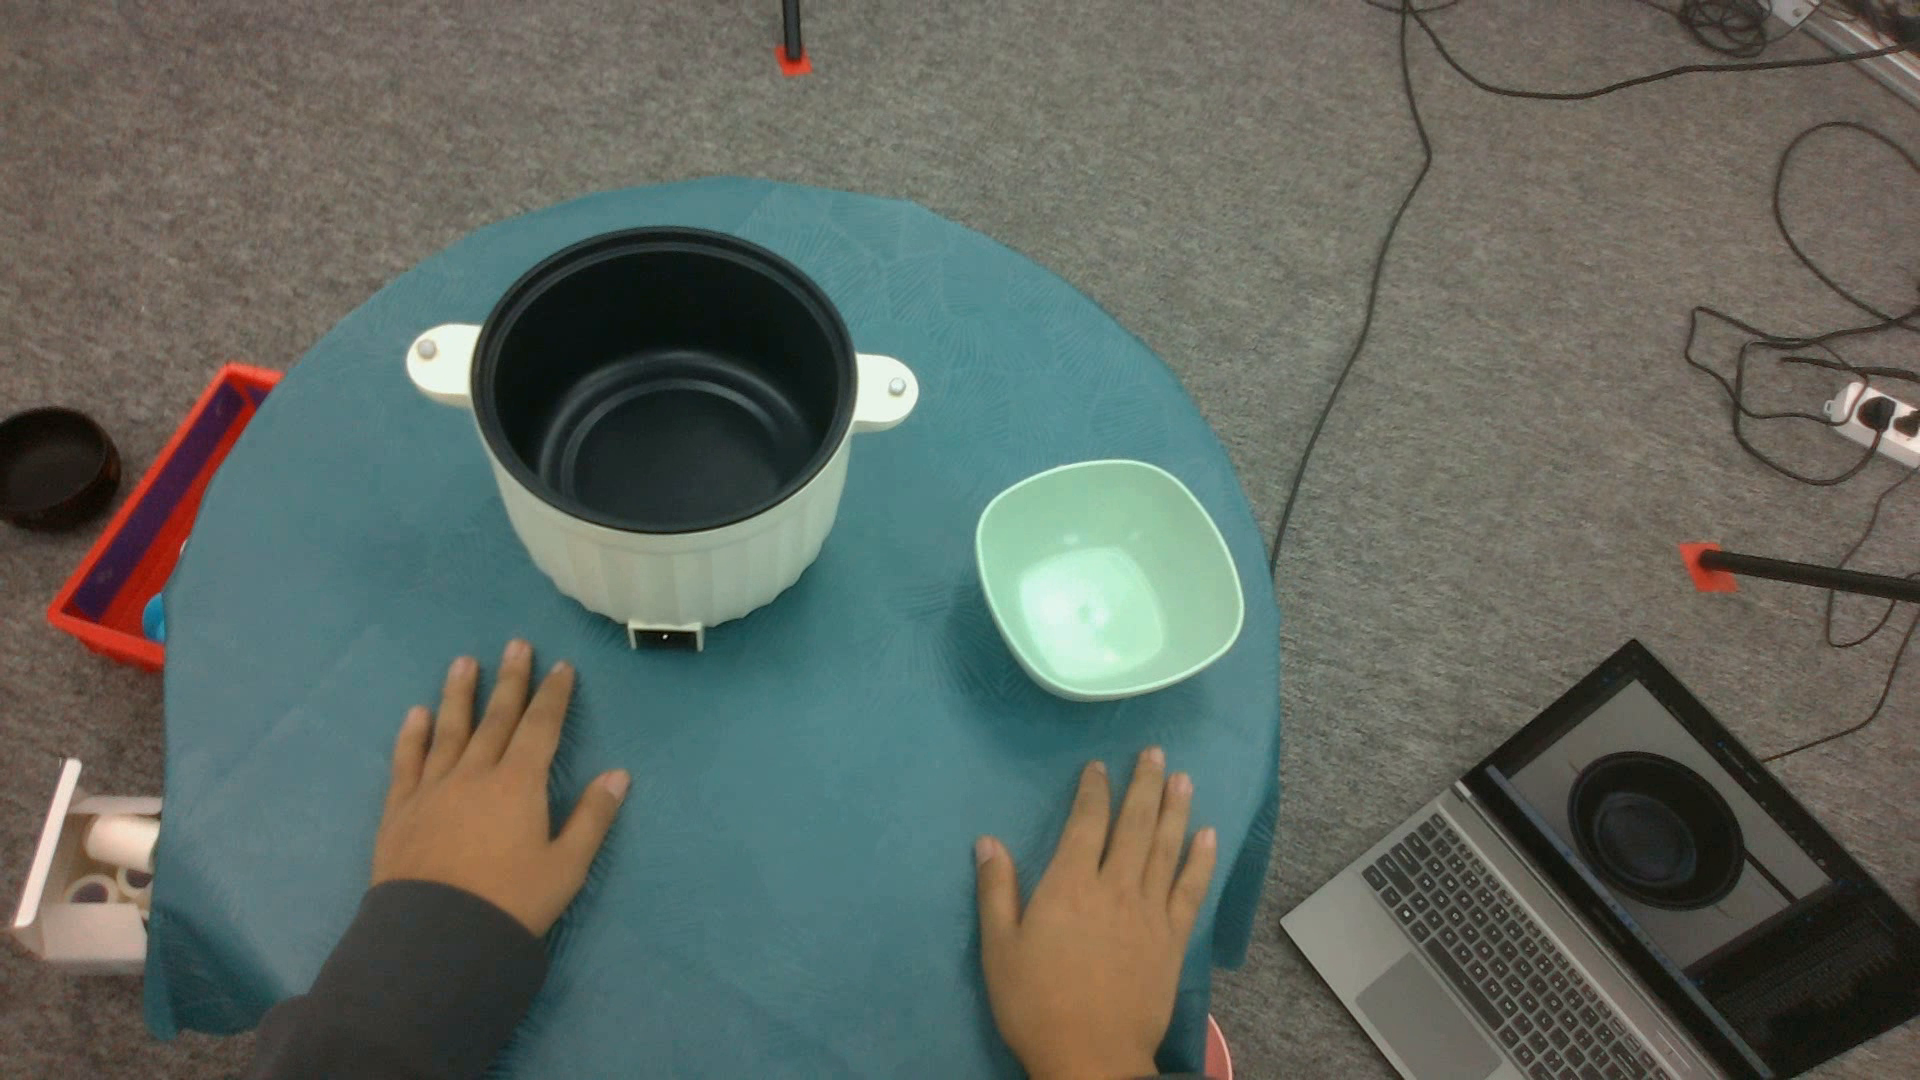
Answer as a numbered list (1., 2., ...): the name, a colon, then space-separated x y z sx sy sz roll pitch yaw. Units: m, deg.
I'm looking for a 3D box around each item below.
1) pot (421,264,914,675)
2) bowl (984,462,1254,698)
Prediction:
1. pot: -0.150 -0.039 0.739 0.240 0.142 0.191 -1 62 -9
2. bowl: 0.084 0.031 0.769 0.151 0.058 0.152 2 57 -4
